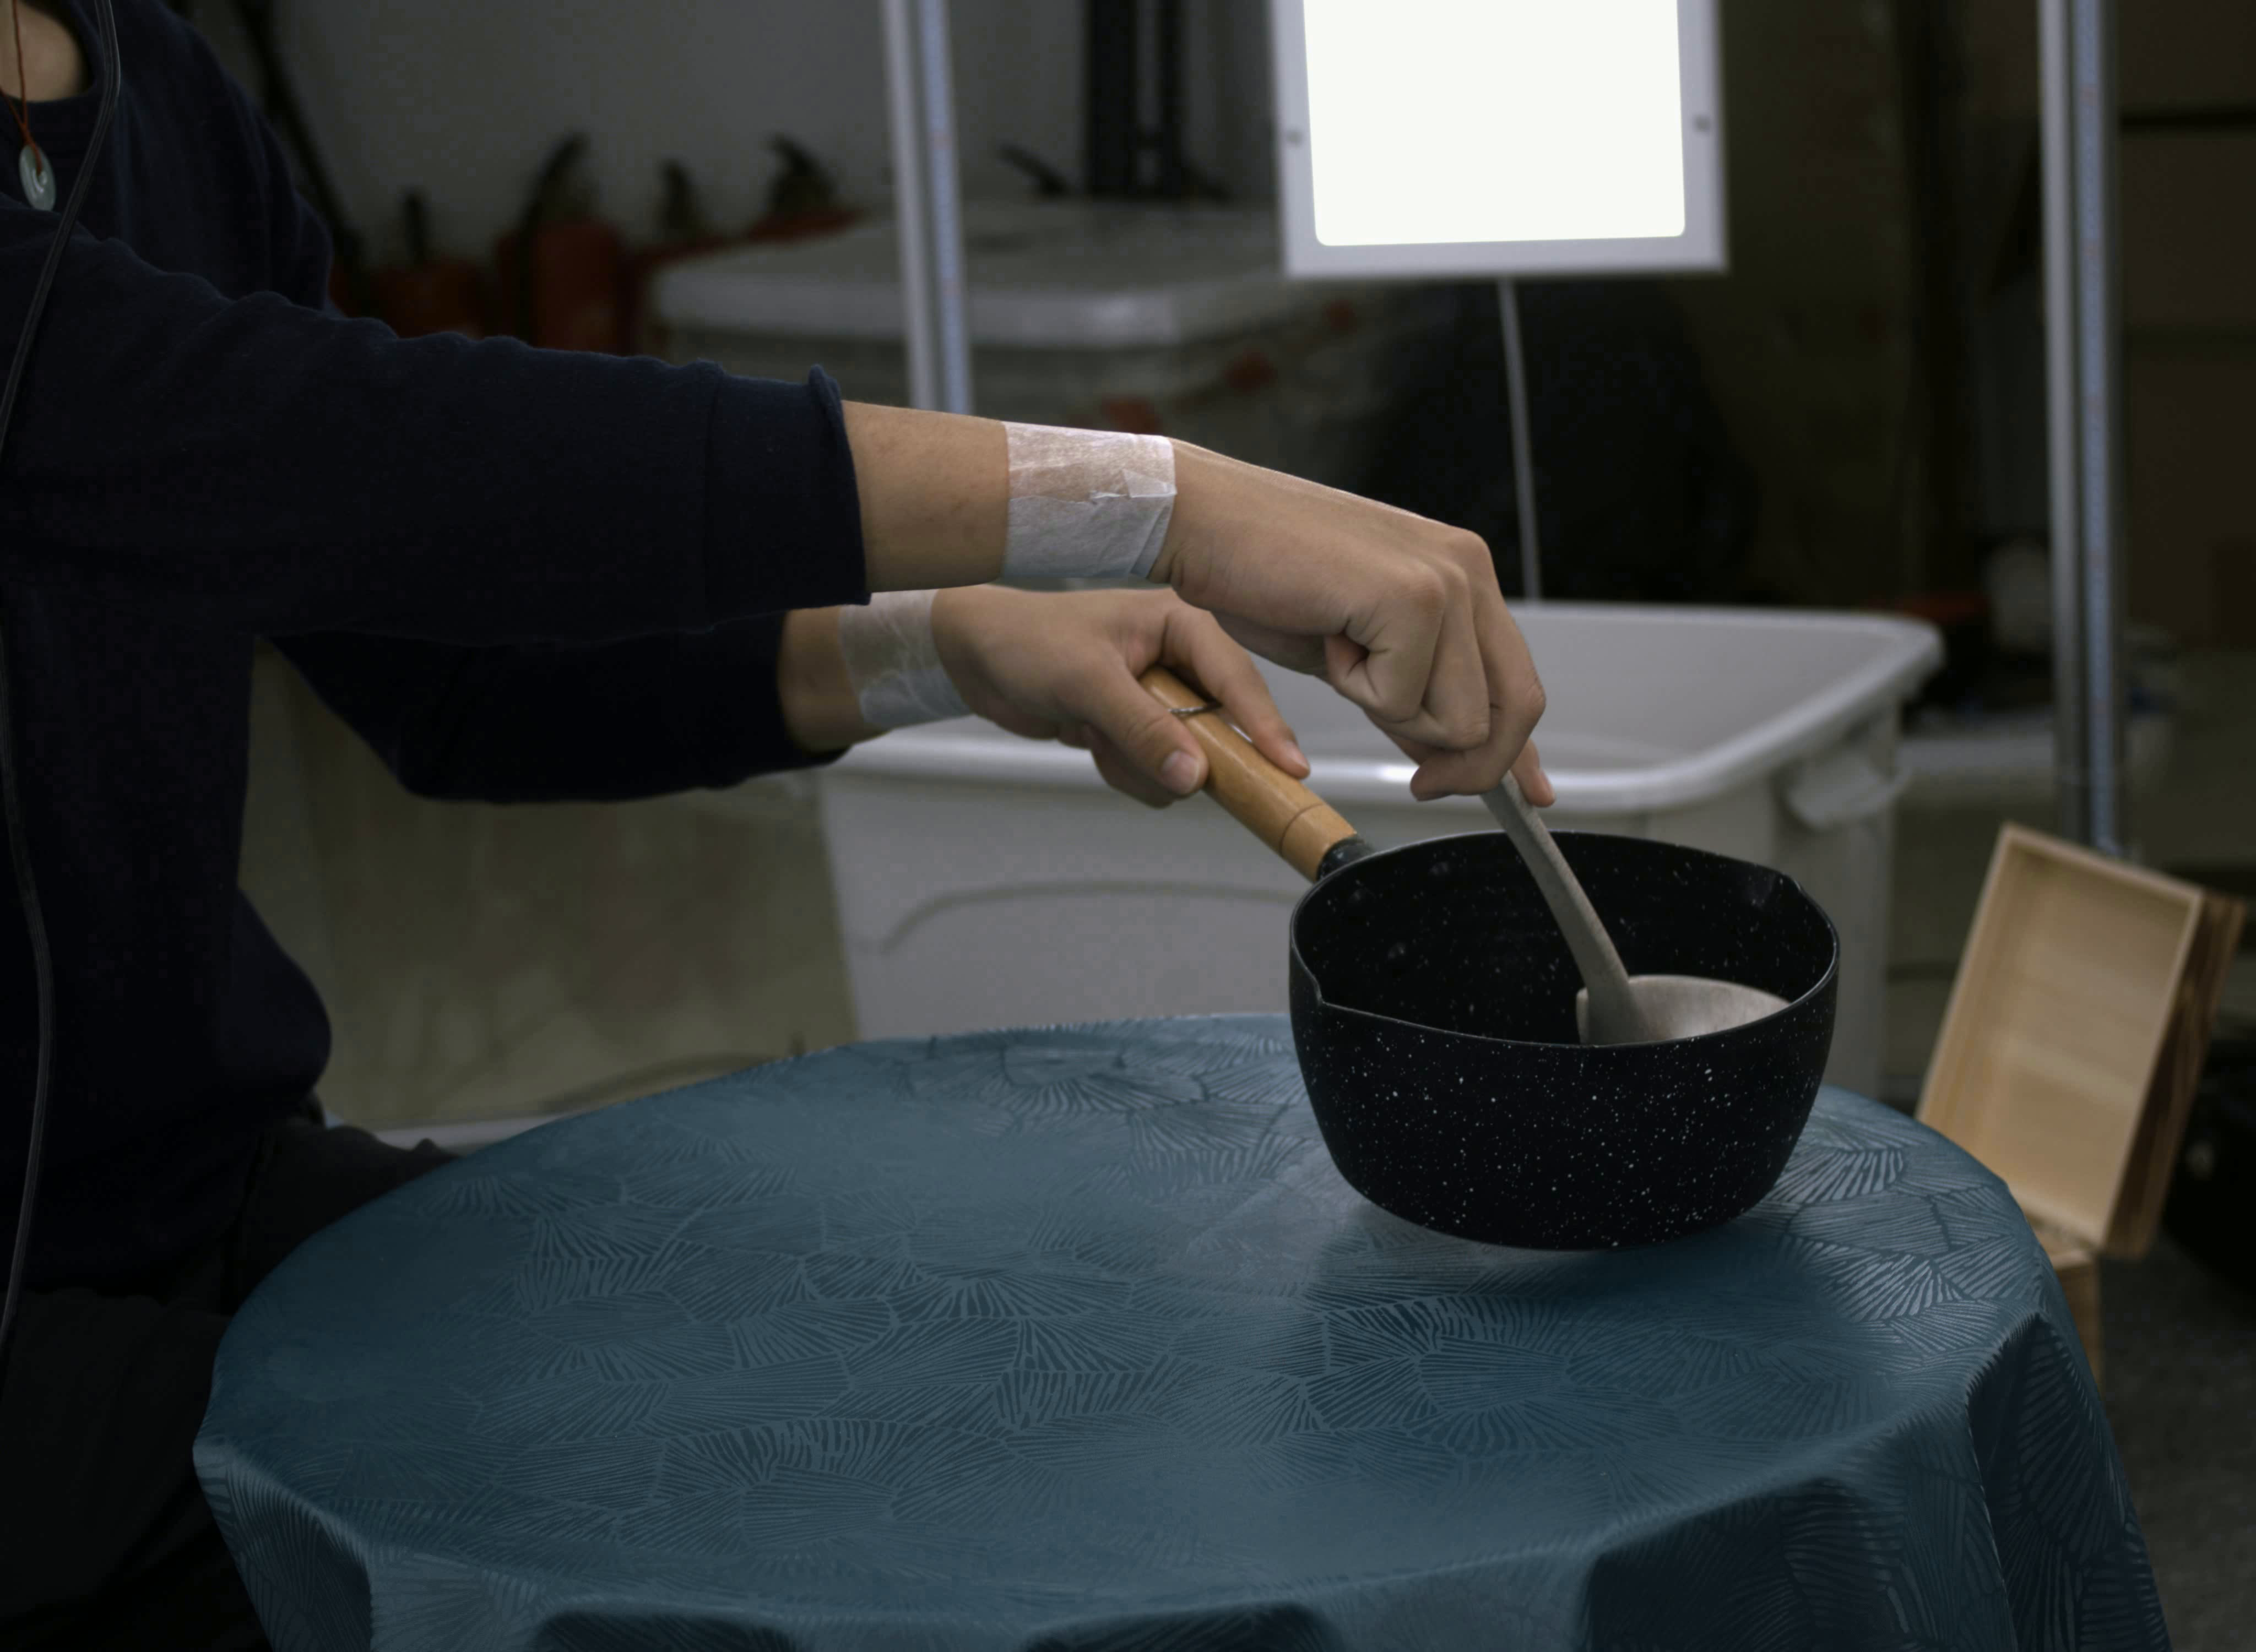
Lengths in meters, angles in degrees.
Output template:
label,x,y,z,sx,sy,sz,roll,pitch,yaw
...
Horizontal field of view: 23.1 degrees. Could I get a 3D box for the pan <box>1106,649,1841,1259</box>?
label,x,y,z,sx,sy,sz,roll,pitch,yaw
pan,0.097,0.039,1.897,0.202,0.109,0.349,-17,28,-32

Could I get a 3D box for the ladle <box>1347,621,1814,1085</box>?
label,x,y,z,sx,sy,sz,roll,pitch,yaw
ladle,0.146,0.003,1.757,0.069,0.272,0.091,-45,43,-13
